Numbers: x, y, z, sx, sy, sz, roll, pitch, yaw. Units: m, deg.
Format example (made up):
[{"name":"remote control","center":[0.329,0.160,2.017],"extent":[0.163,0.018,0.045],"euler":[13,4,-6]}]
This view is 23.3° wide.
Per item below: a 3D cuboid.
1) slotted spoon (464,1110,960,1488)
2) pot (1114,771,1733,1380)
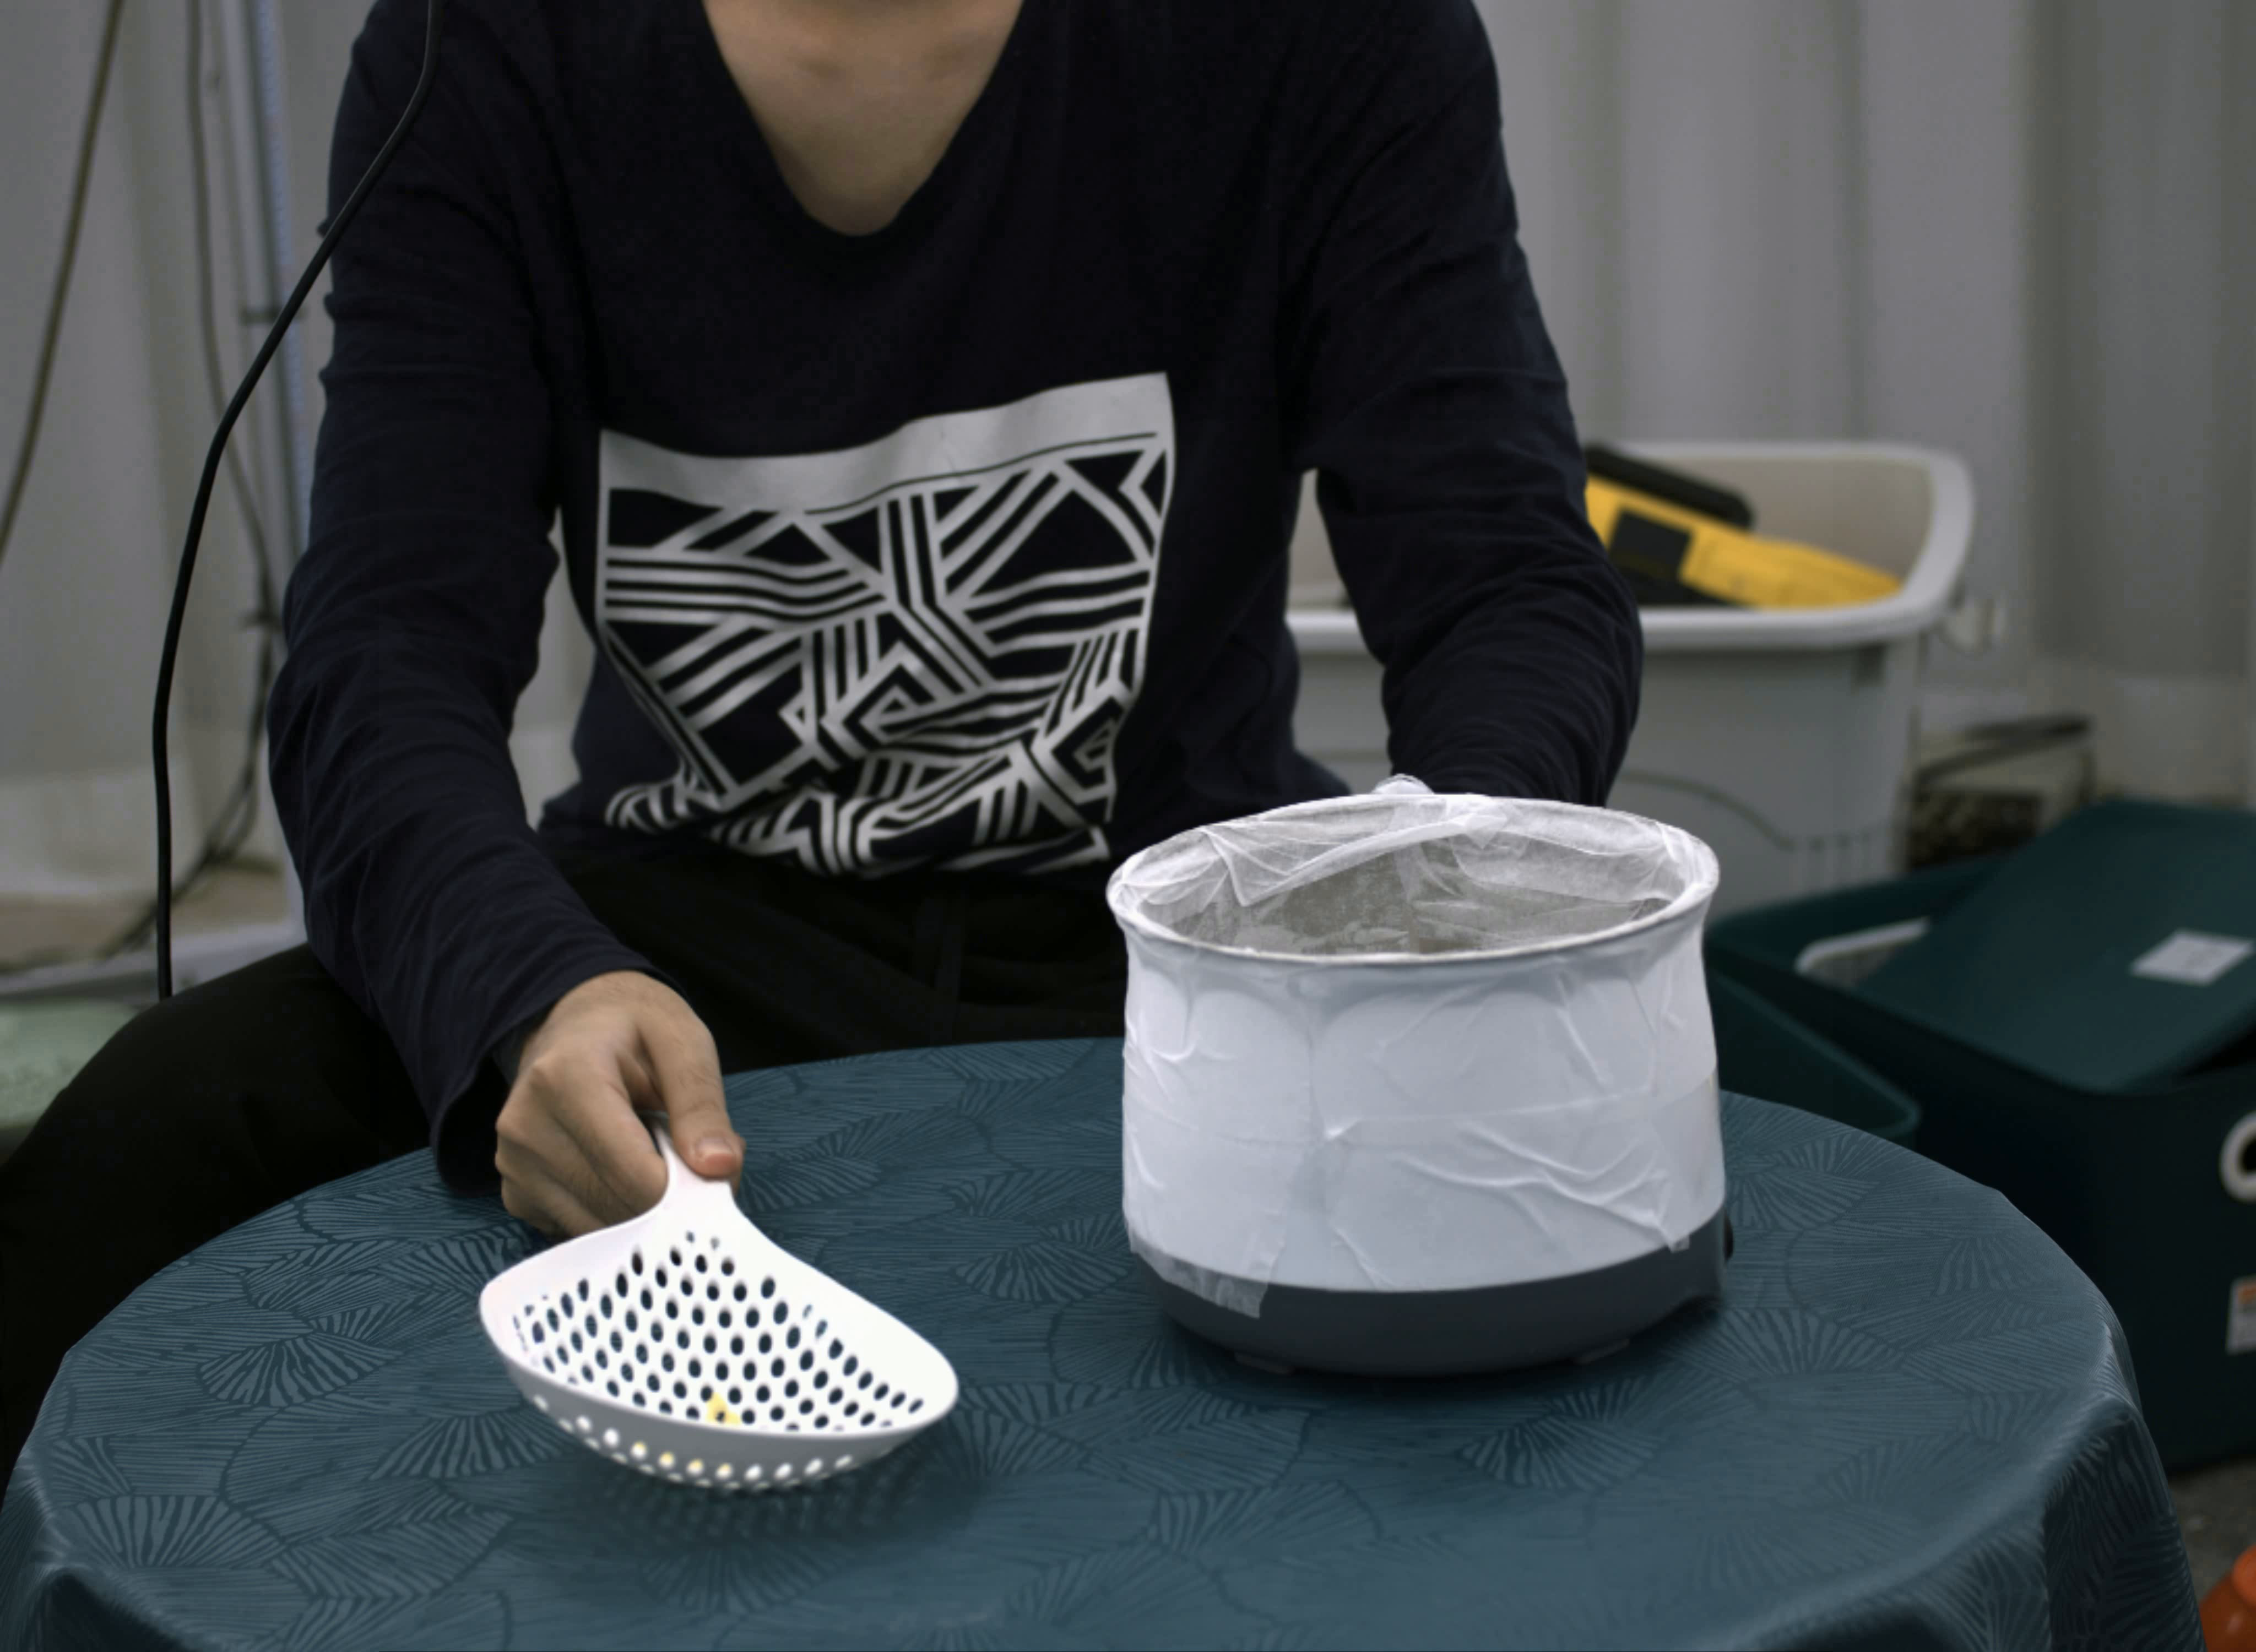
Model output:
[{"name":"slotted spoon","center":[-0.130,0.125,1.598],"extent":[0.136,0.050,0.351],"euler":[8,16,-10]},{"name":"pot","center":[0.085,0.068,1.612],"extent":[0.178,0.136,0.235],"euler":[-1,15,0]}]
